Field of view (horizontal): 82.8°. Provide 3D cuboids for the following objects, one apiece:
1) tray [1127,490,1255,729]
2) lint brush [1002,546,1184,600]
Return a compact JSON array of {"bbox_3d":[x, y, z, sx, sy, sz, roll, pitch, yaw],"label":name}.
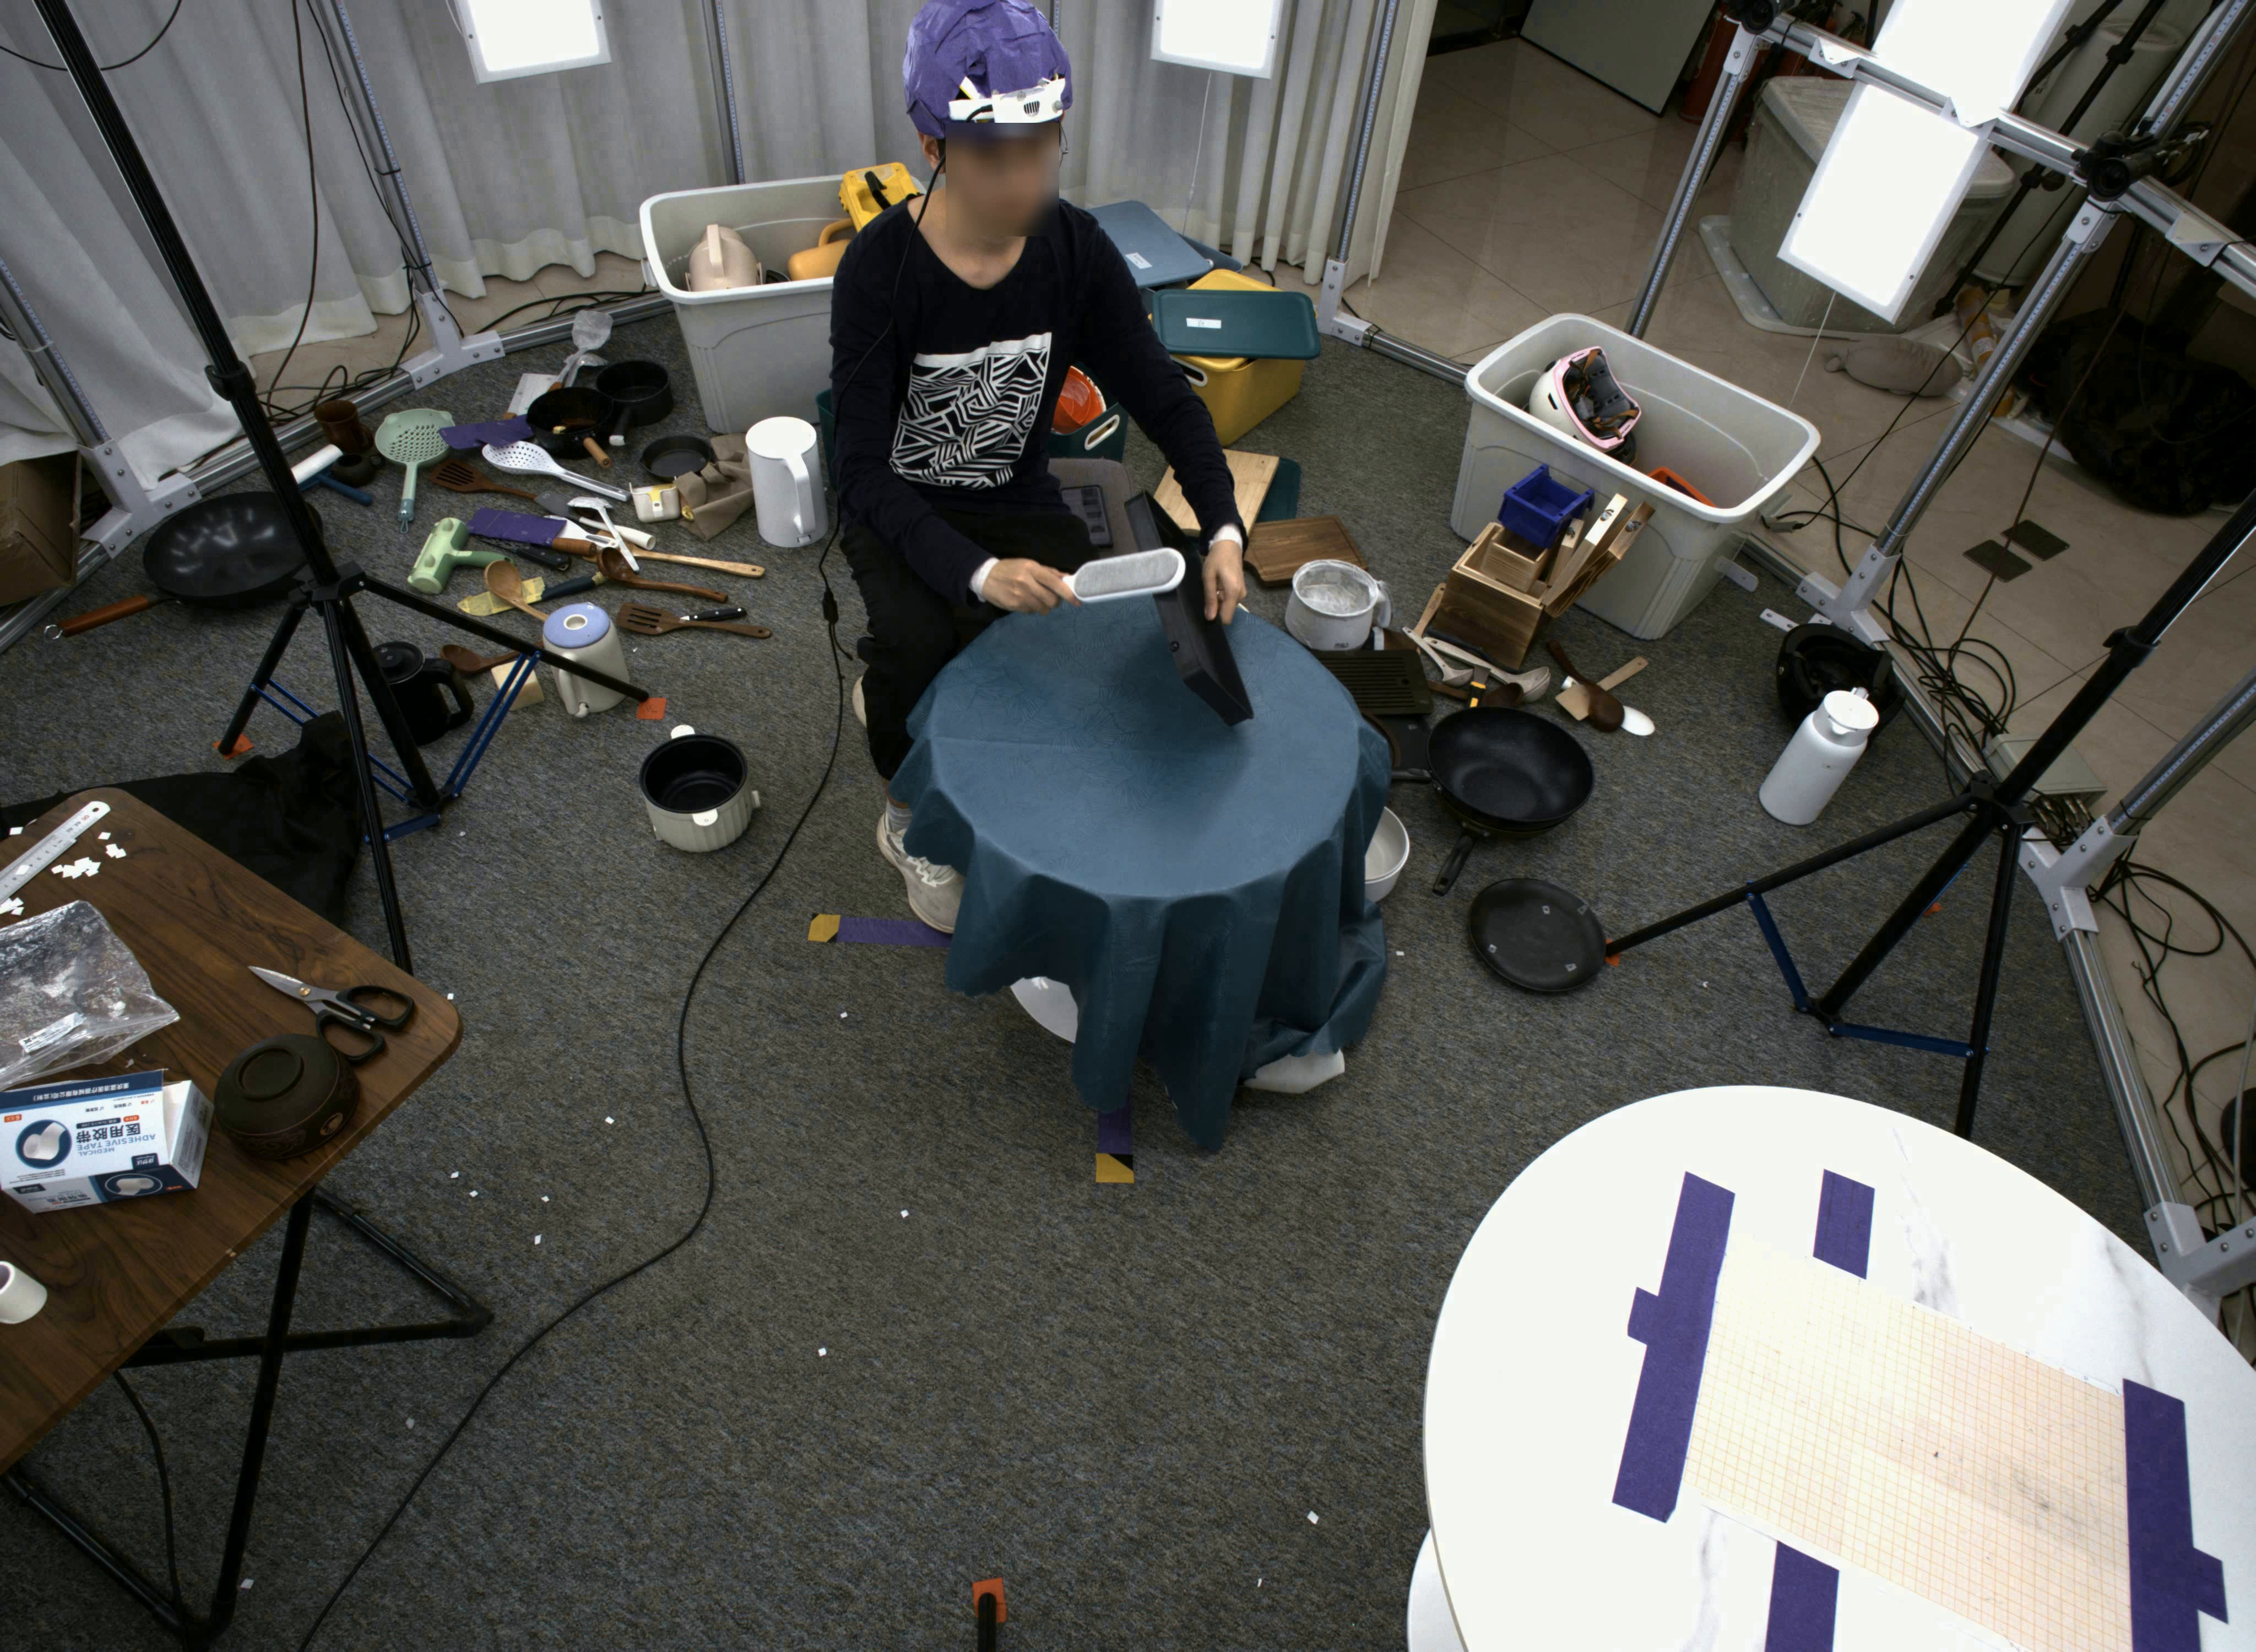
[{"bbox_3d":[0.086,-0.296,1.764,0.037,0.181,0.325,-26,59,19],"label":"tray"},{"bbox_3d":[-0.053,-0.337,1.751,0.310,0.021,0.060,0,81,37],"label":"lint brush"}]
